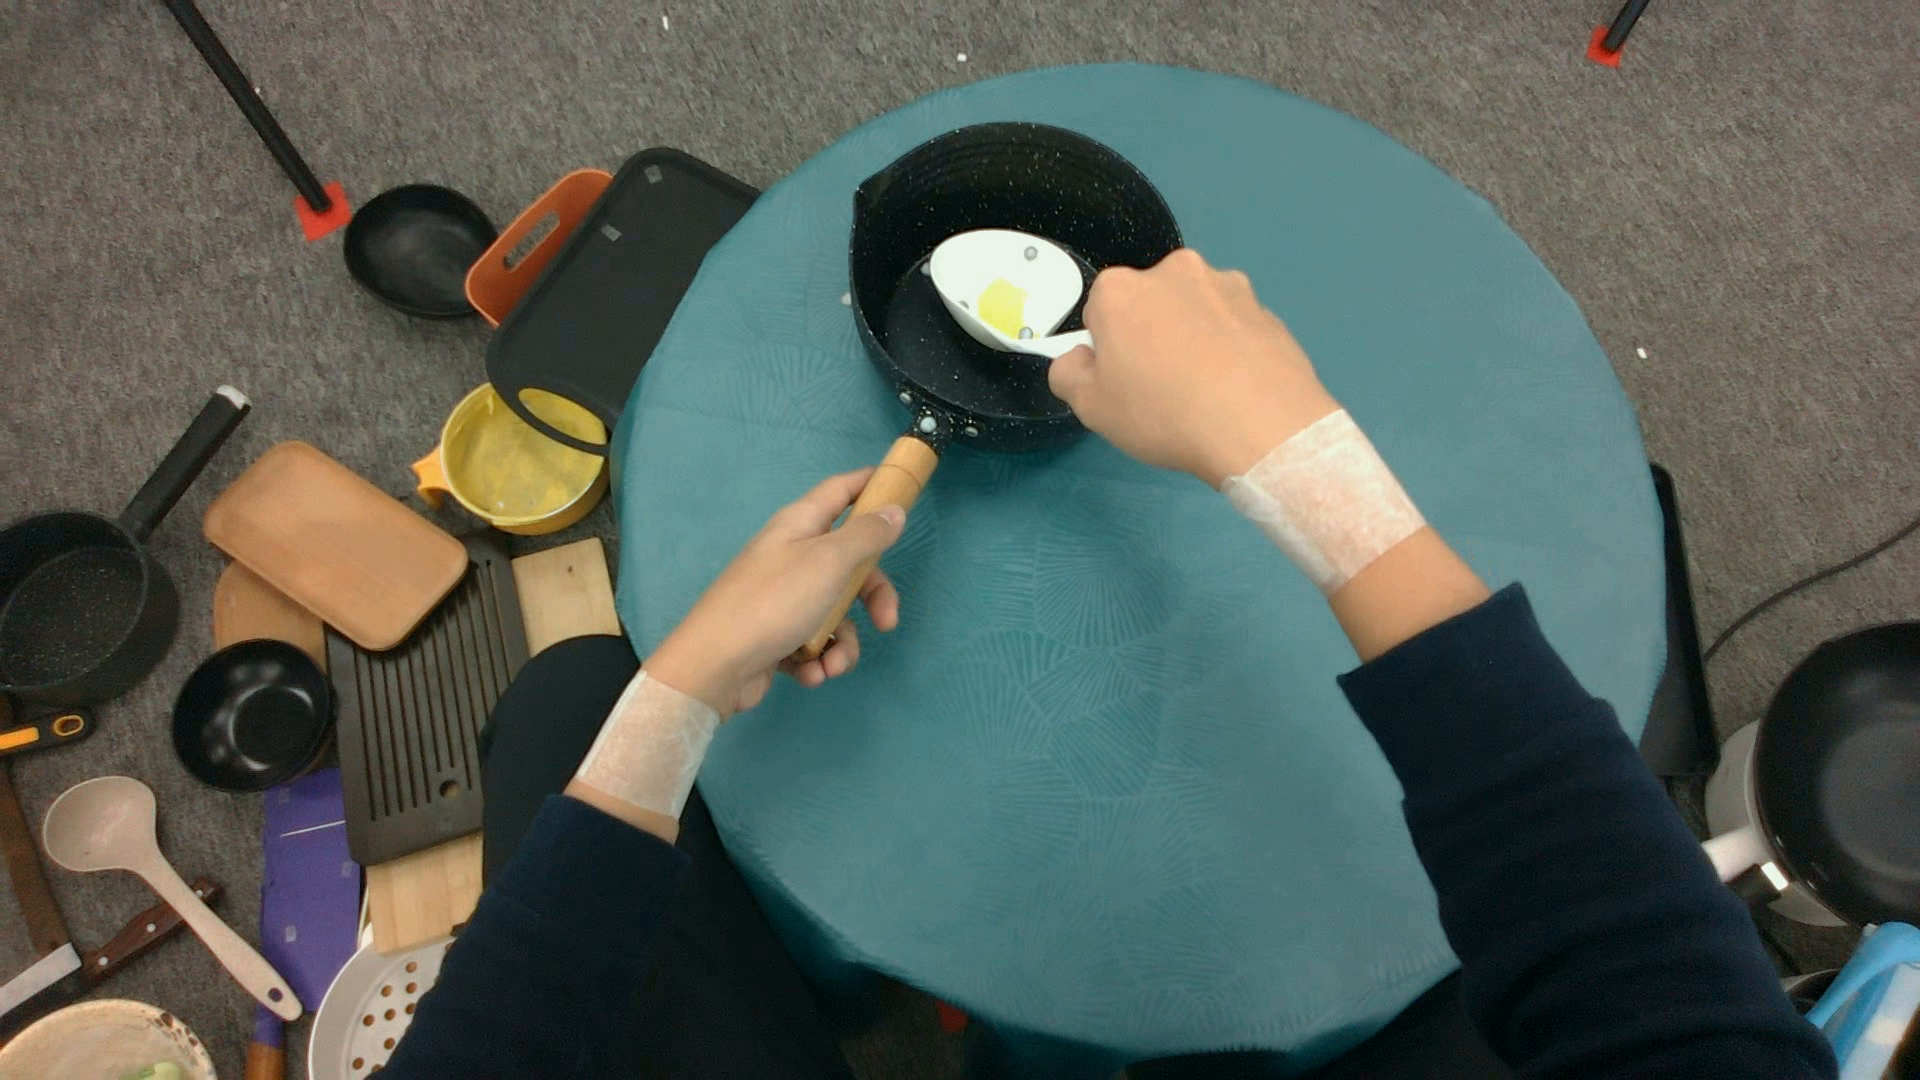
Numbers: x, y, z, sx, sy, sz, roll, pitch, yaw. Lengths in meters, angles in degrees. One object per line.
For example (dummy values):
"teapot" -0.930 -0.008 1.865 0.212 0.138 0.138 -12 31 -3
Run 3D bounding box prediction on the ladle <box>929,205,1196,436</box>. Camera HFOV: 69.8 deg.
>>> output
"ladle" 0.051 -0.119 0.693 0.090 0.293 0.070 9 105 -17

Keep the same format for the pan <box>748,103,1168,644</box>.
"pan" -0.016 -0.080 0.740 0.207 0.108 0.344 25 69 4
